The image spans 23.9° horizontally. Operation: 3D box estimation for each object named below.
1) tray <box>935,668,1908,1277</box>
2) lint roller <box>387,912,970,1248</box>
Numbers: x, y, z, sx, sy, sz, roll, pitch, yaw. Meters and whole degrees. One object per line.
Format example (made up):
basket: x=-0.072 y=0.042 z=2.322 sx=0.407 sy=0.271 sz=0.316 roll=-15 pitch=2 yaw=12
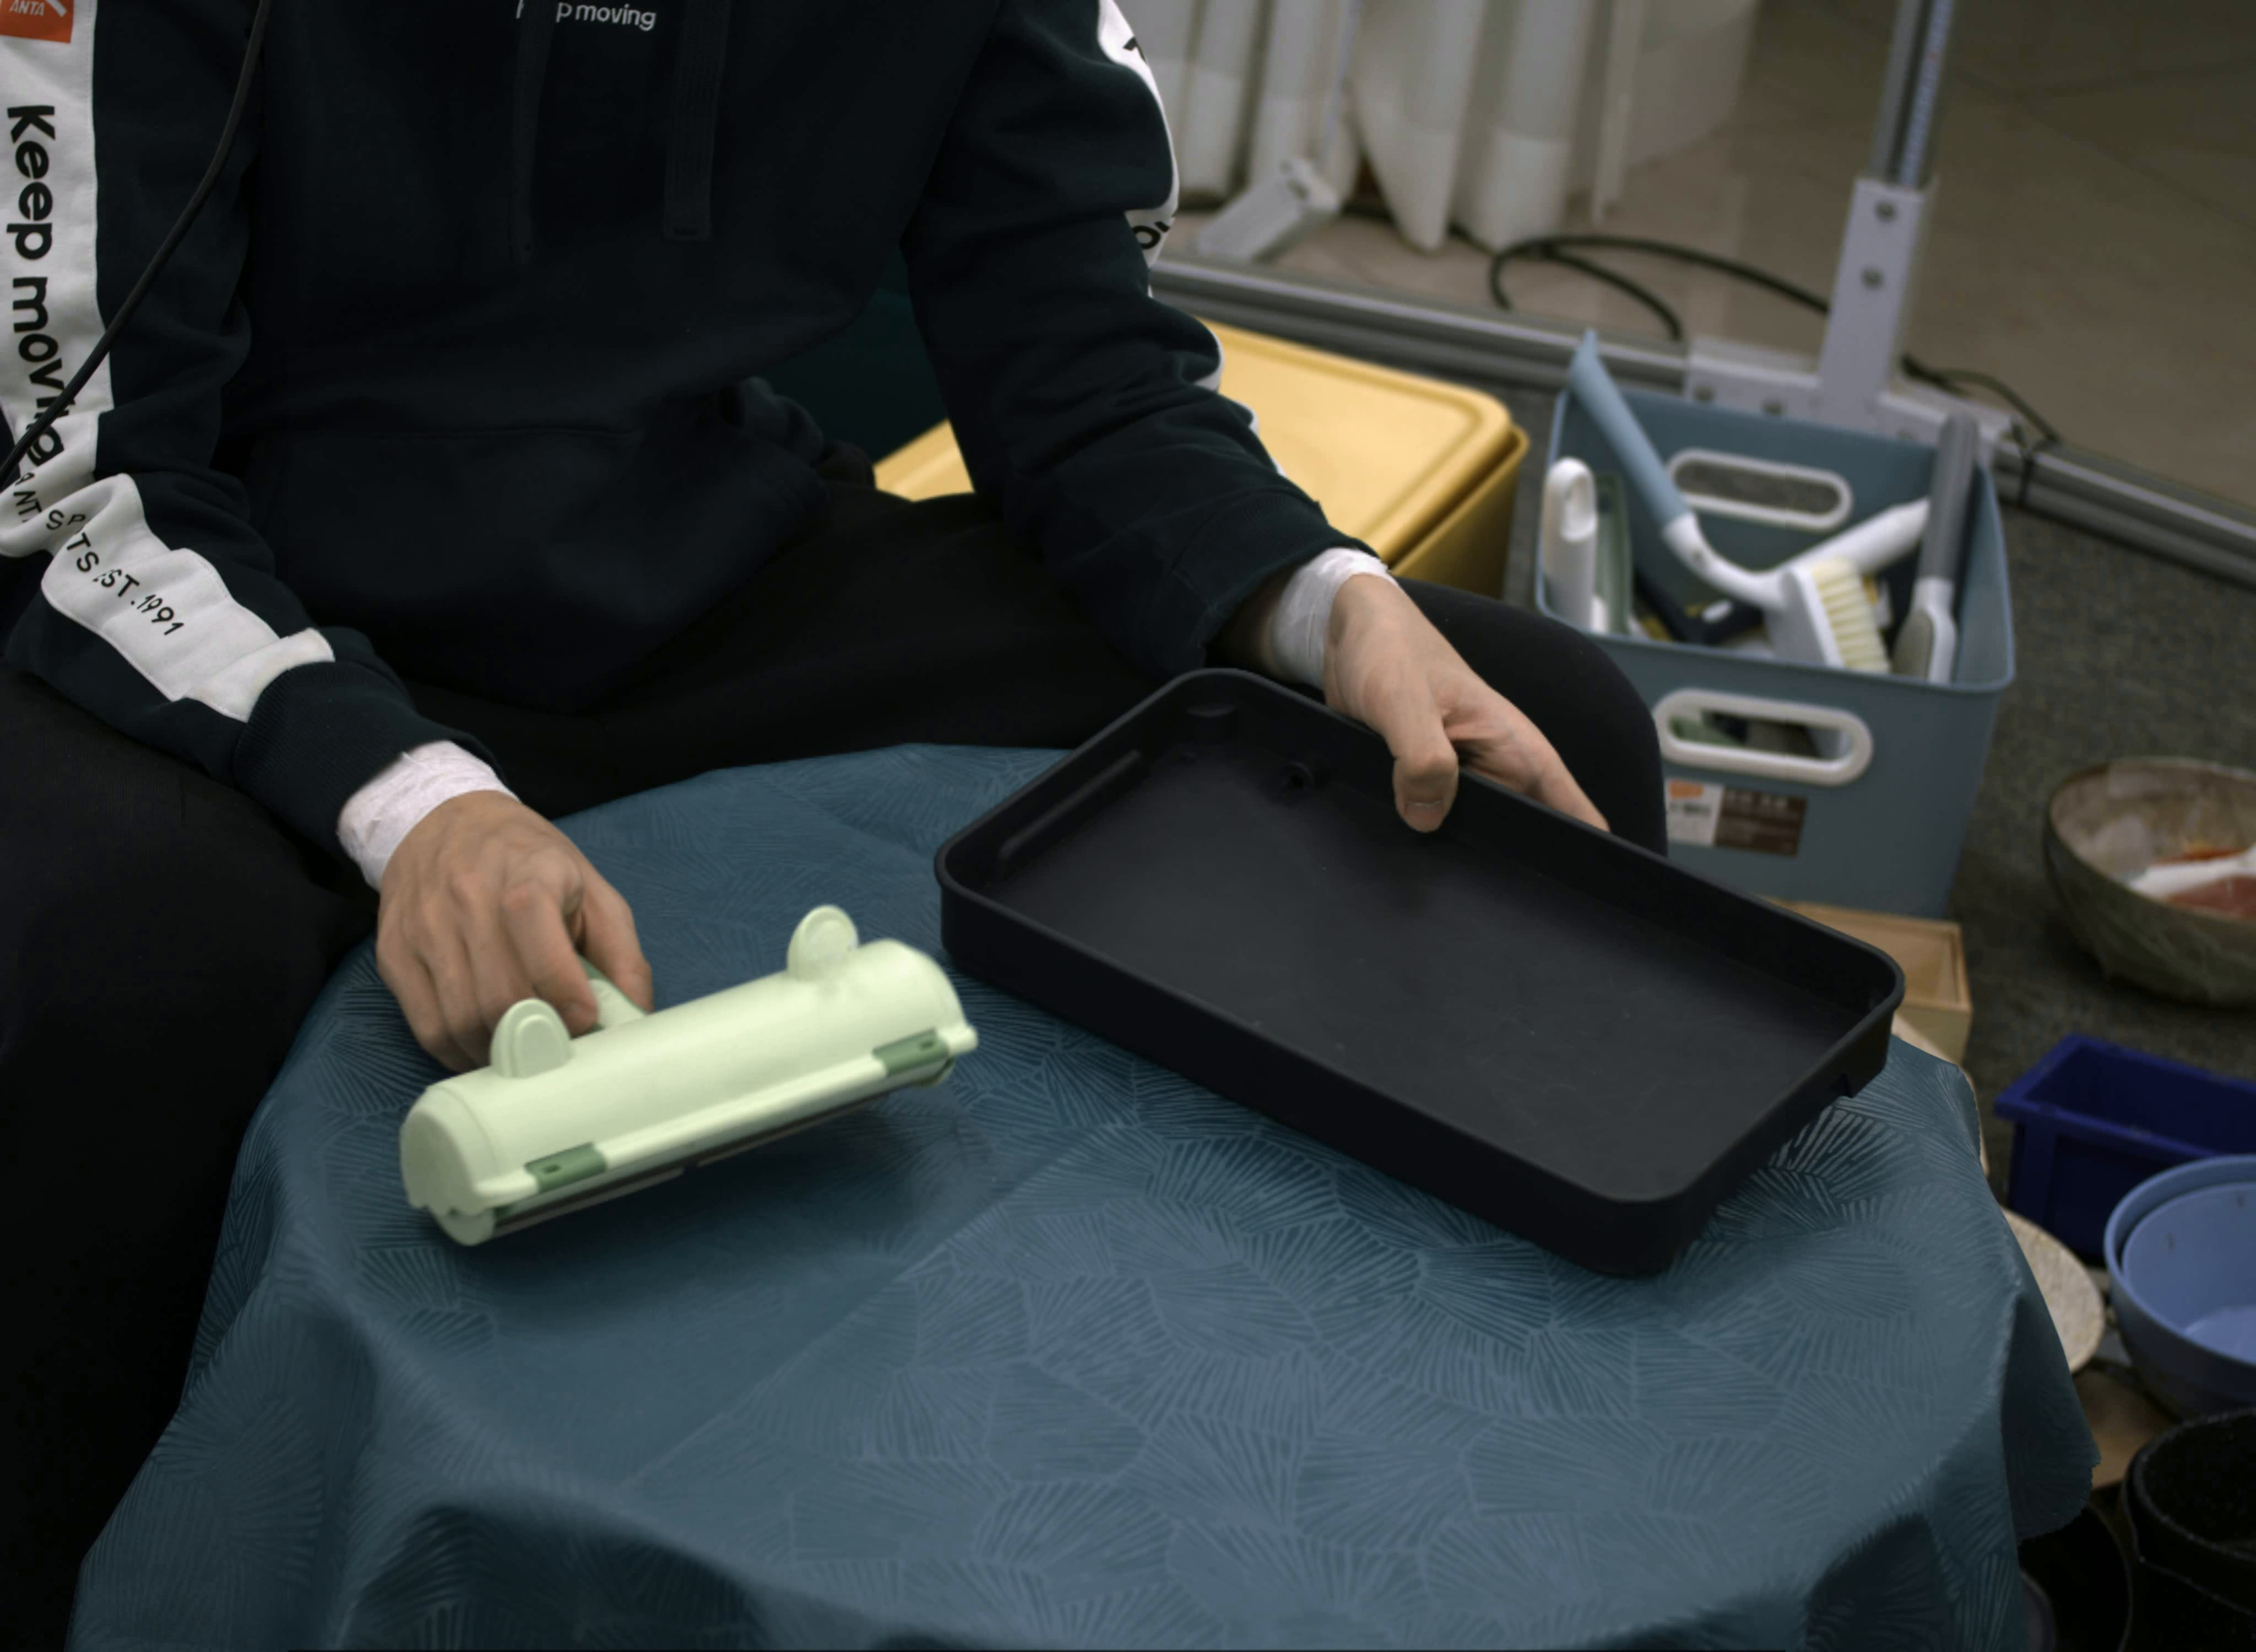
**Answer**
tray: x=0.102 y=0.047 z=1.897 sx=0.320 sy=0.037 sz=0.184 roll=25 pitch=40 yaw=30
lint roller: x=-0.180 y=0.056 z=1.791 sx=0.197 sy=0.082 sz=0.185 roll=-16 pitch=38 yaw=-32
